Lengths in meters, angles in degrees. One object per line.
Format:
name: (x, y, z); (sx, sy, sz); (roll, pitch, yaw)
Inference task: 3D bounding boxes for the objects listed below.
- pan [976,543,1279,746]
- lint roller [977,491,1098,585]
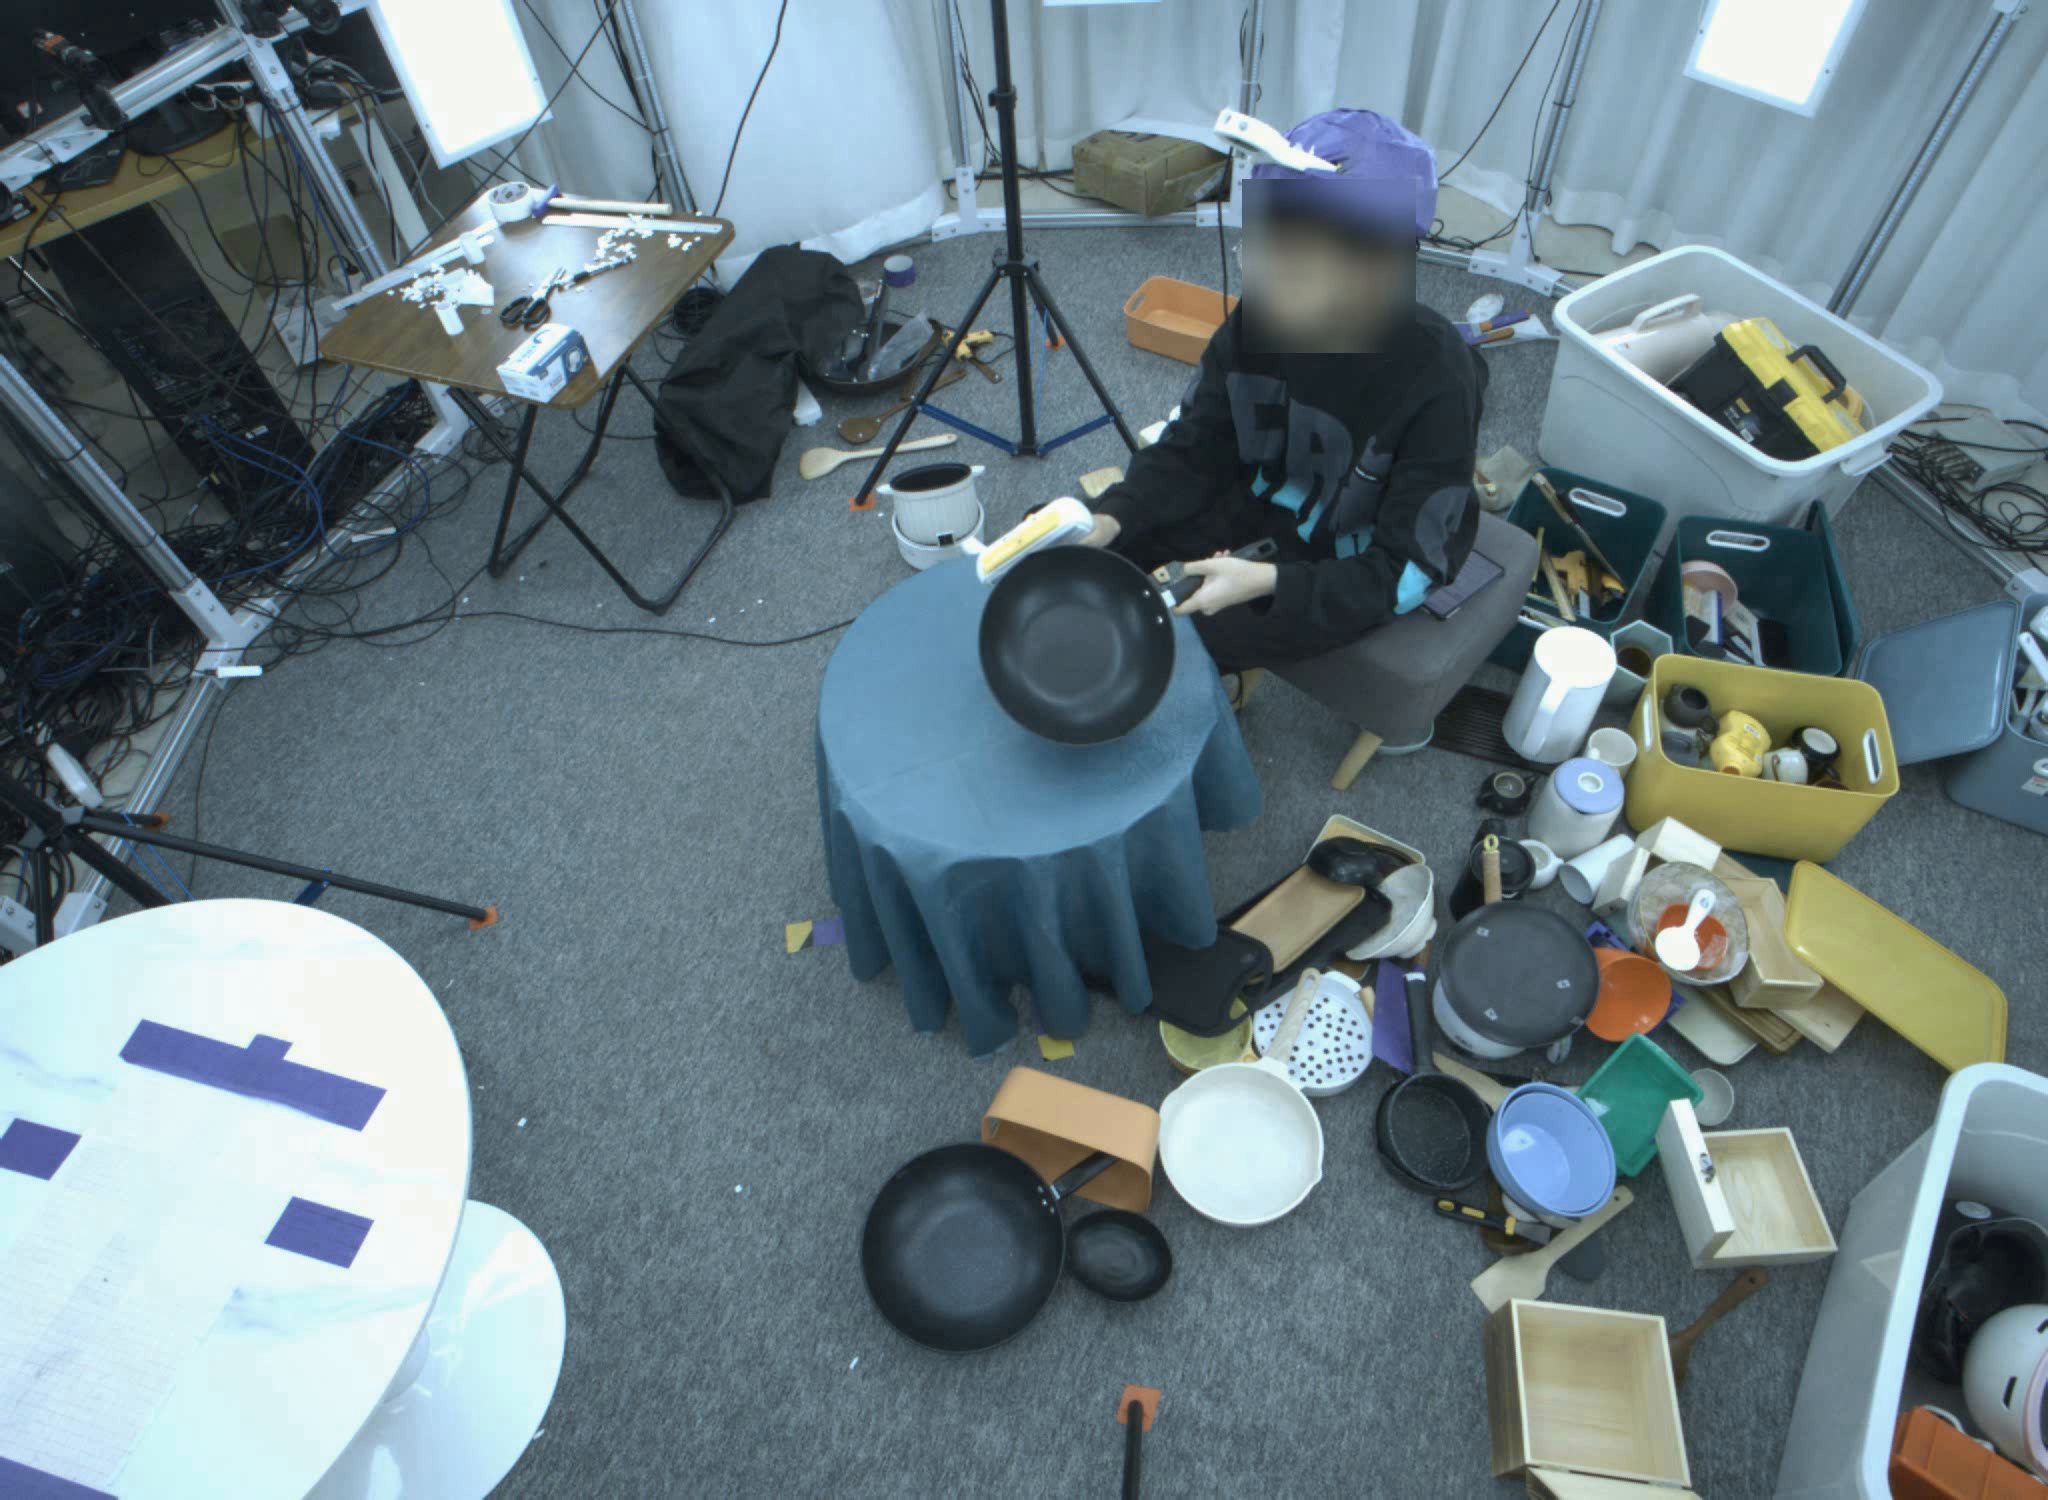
pan: (0.147, -0.186, 1.742); (0.466, 0.086, 0.289); (-28, 93, -10)
lint roller: (0.043, -0.306, 1.808); (0.191, 0.196, 0.073); (-34, 72, 25)
